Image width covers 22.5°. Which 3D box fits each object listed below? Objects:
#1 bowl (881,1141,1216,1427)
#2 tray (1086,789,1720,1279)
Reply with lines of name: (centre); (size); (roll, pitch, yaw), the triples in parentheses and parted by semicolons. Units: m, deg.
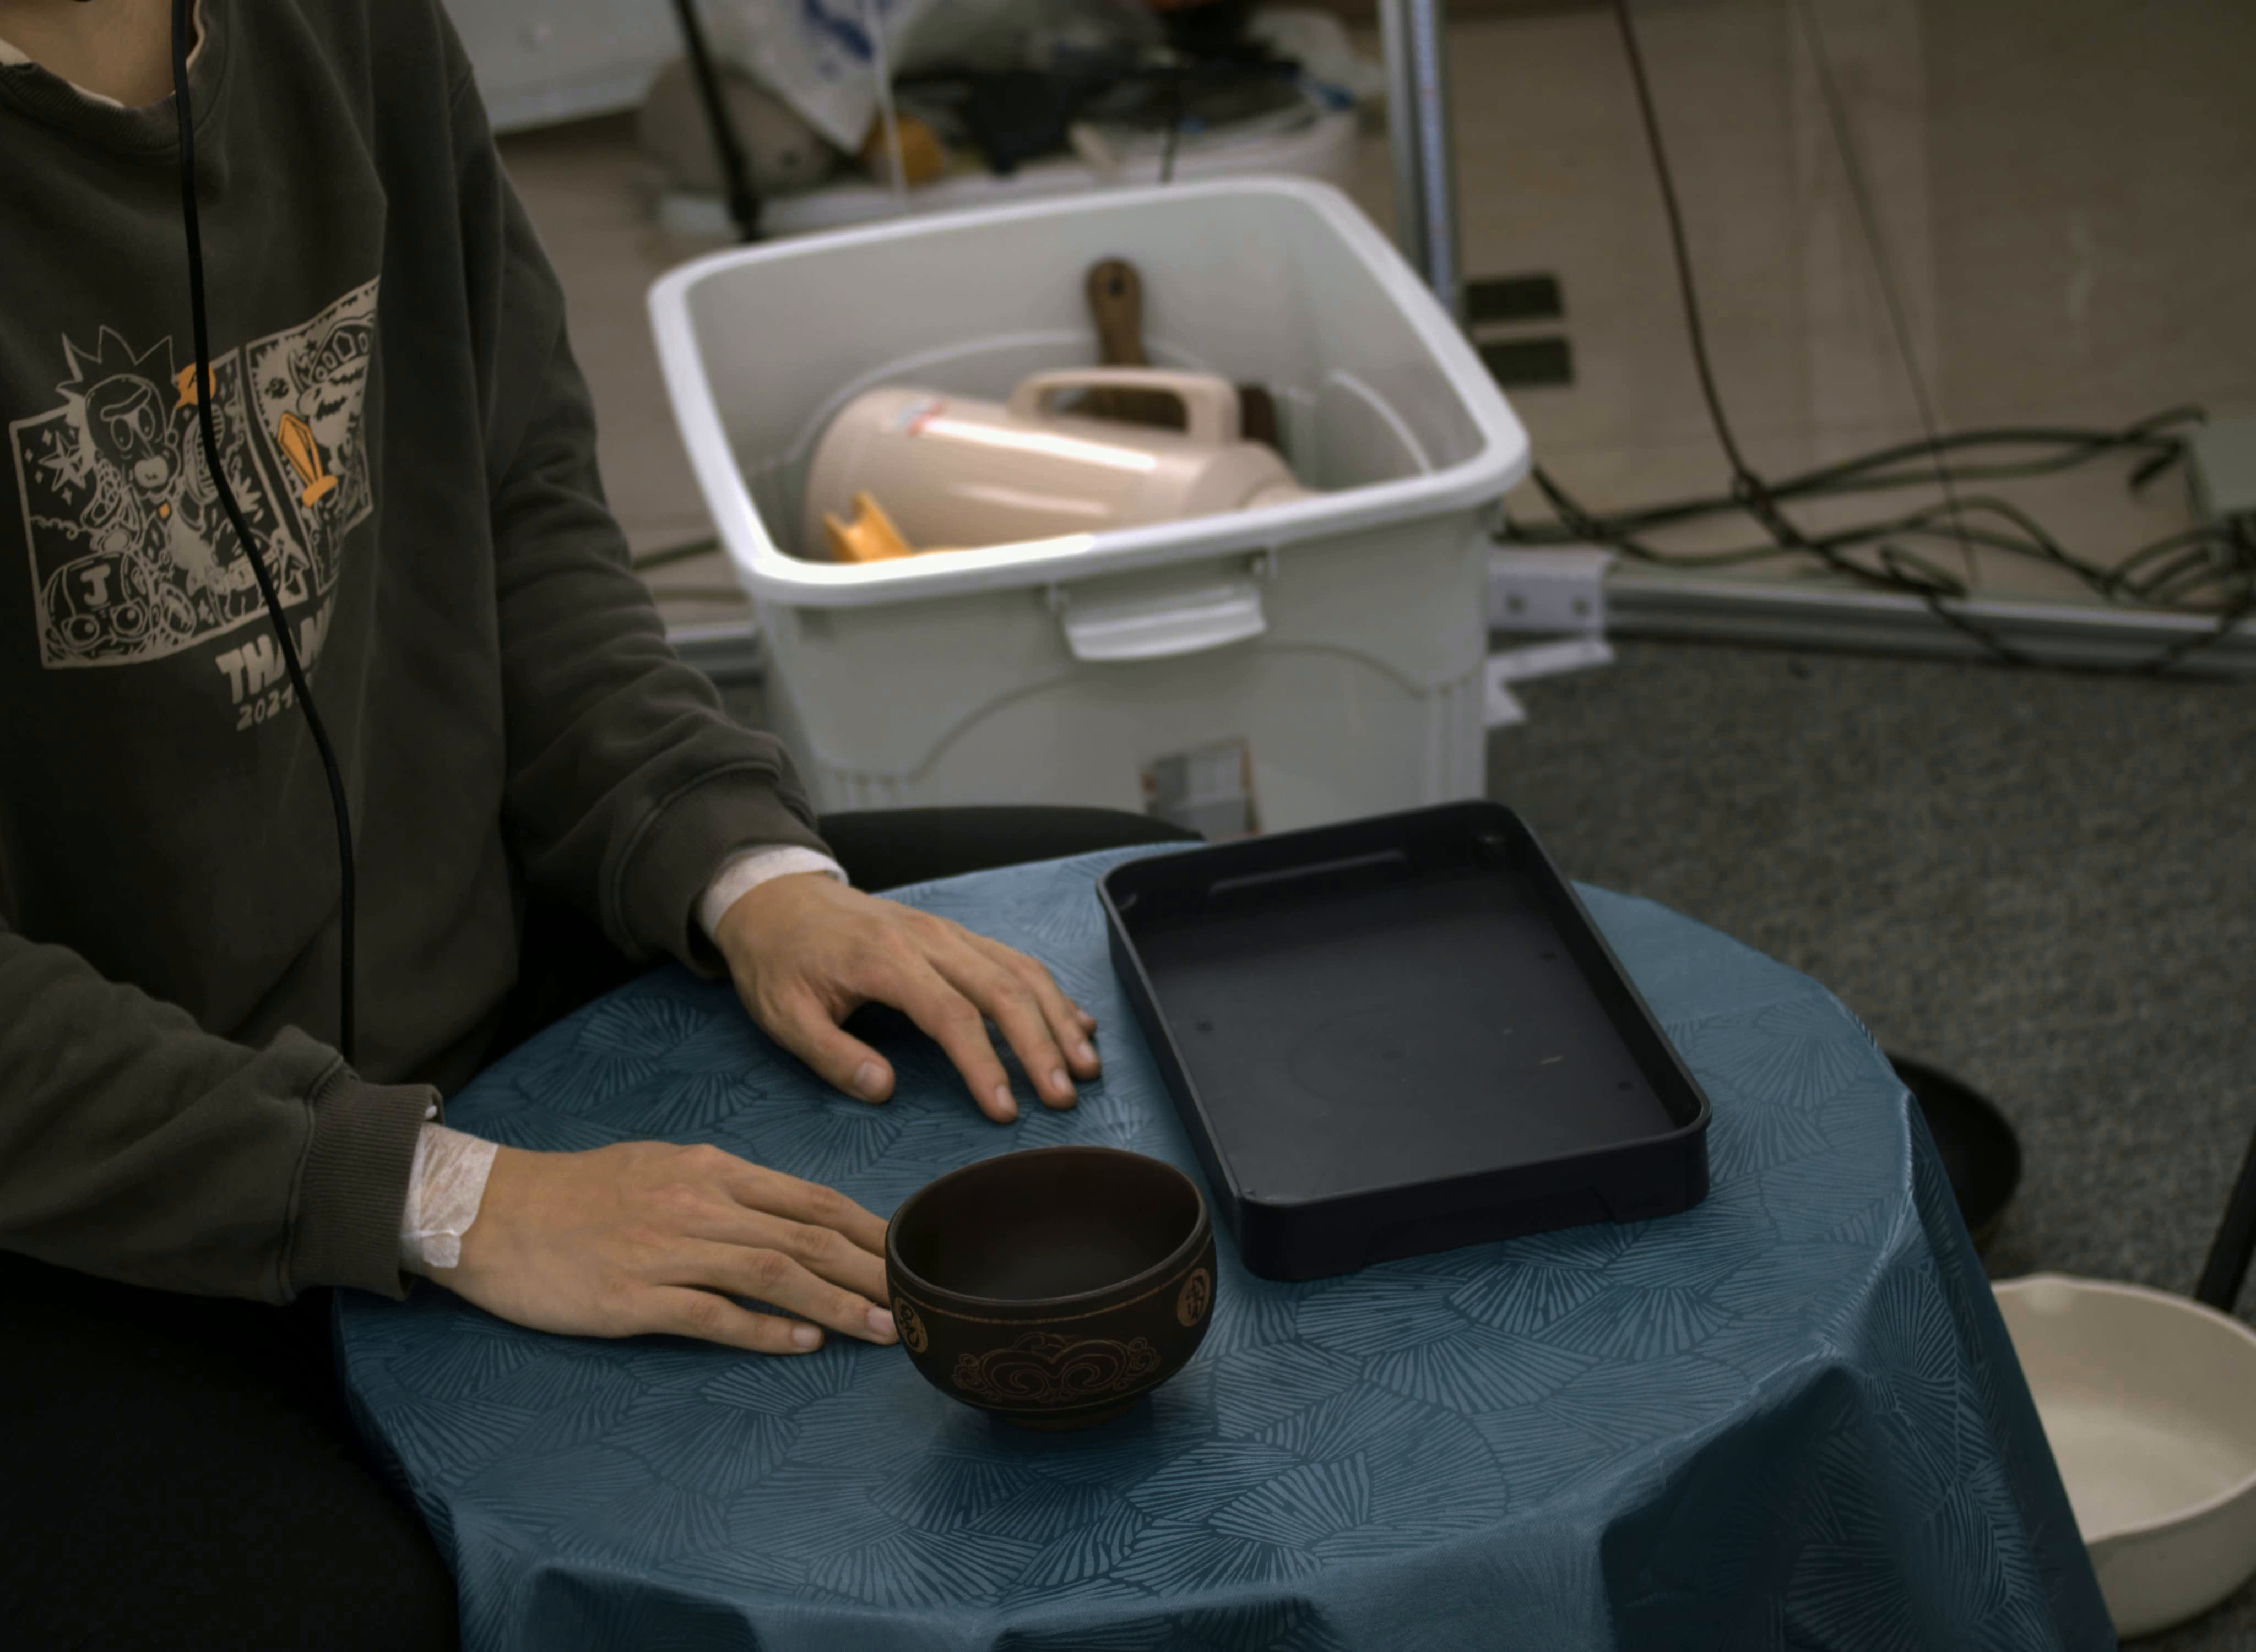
bowl: (-0.026, 0.168, 2.004); (0.118, 0.071, 0.116); (-7, 25, 3)
tray: (0.102, 0.076, 2.214); (0.184, 0.037, 0.313); (-11, 26, -8)
